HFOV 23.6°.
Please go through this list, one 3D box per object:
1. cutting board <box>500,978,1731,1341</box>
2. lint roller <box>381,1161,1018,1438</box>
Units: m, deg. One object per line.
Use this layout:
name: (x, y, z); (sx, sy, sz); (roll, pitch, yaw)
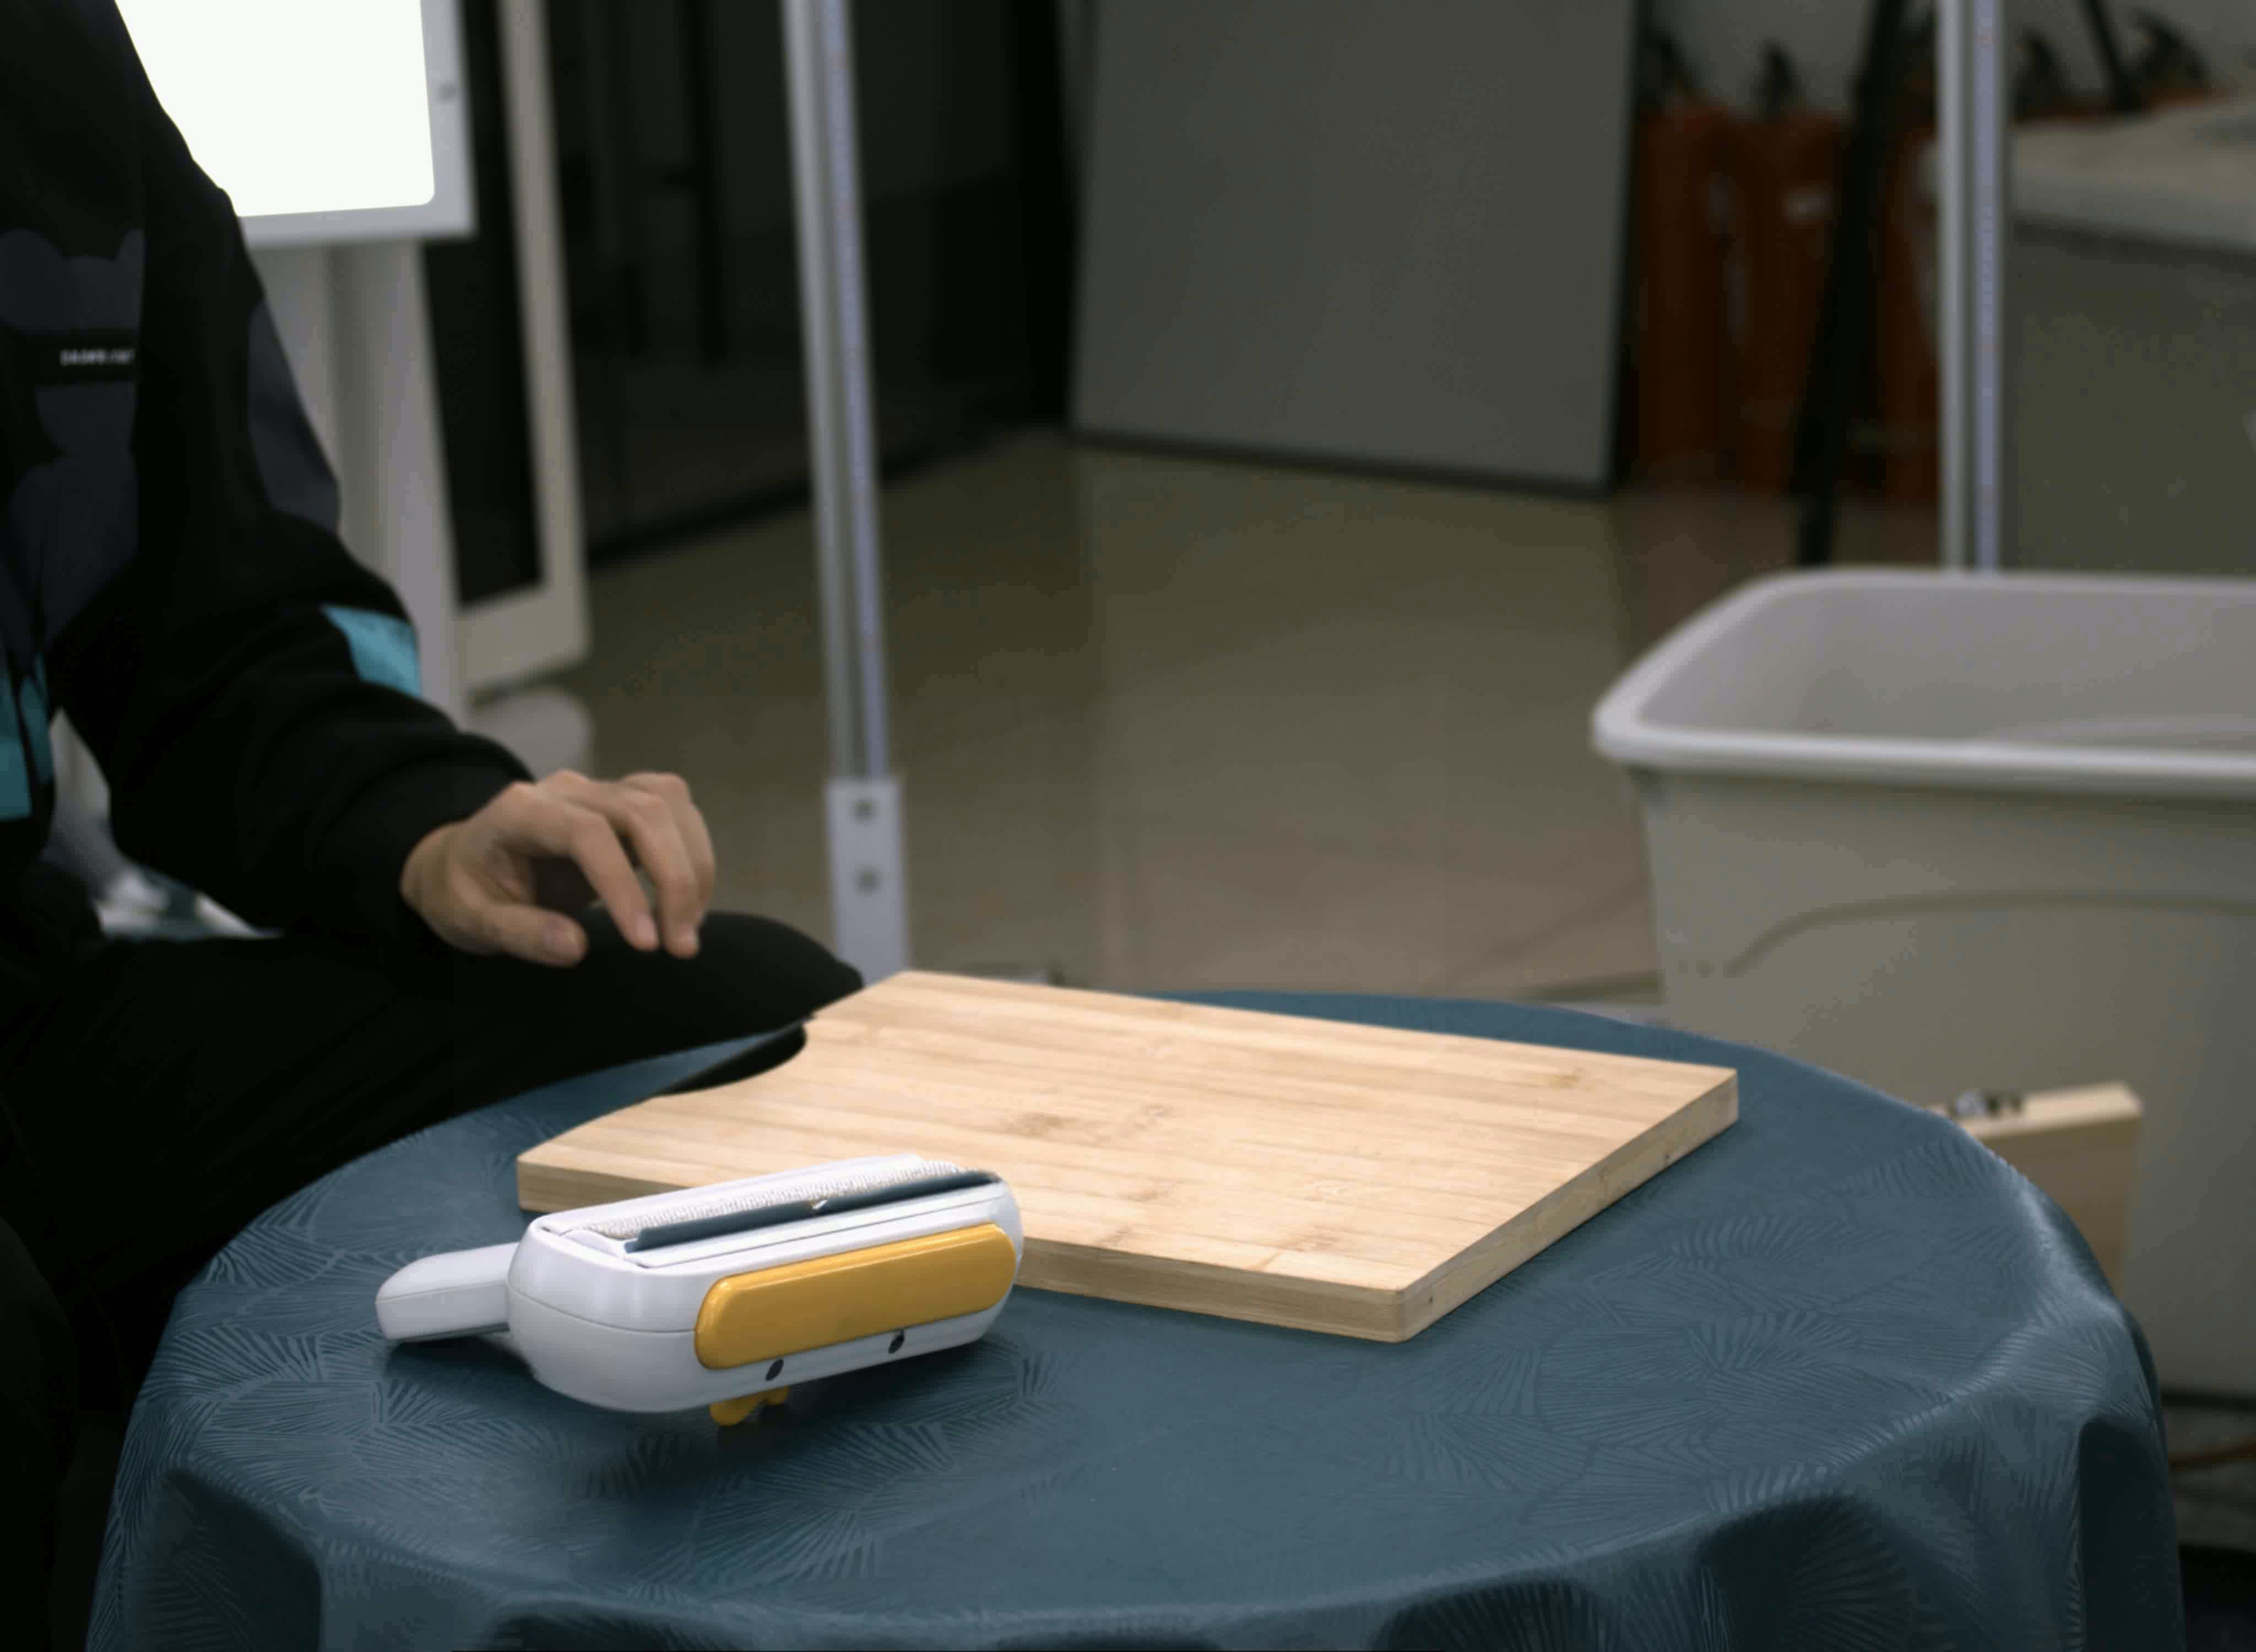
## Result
cutting board: (-0.003, 0.106, 1.801); (0.350, 0.024, 0.246); (5, 16, 32)
lint roller: (-0.152, 0.136, 1.617); (0.194, 0.075, 0.189); (5, 11, 41)
